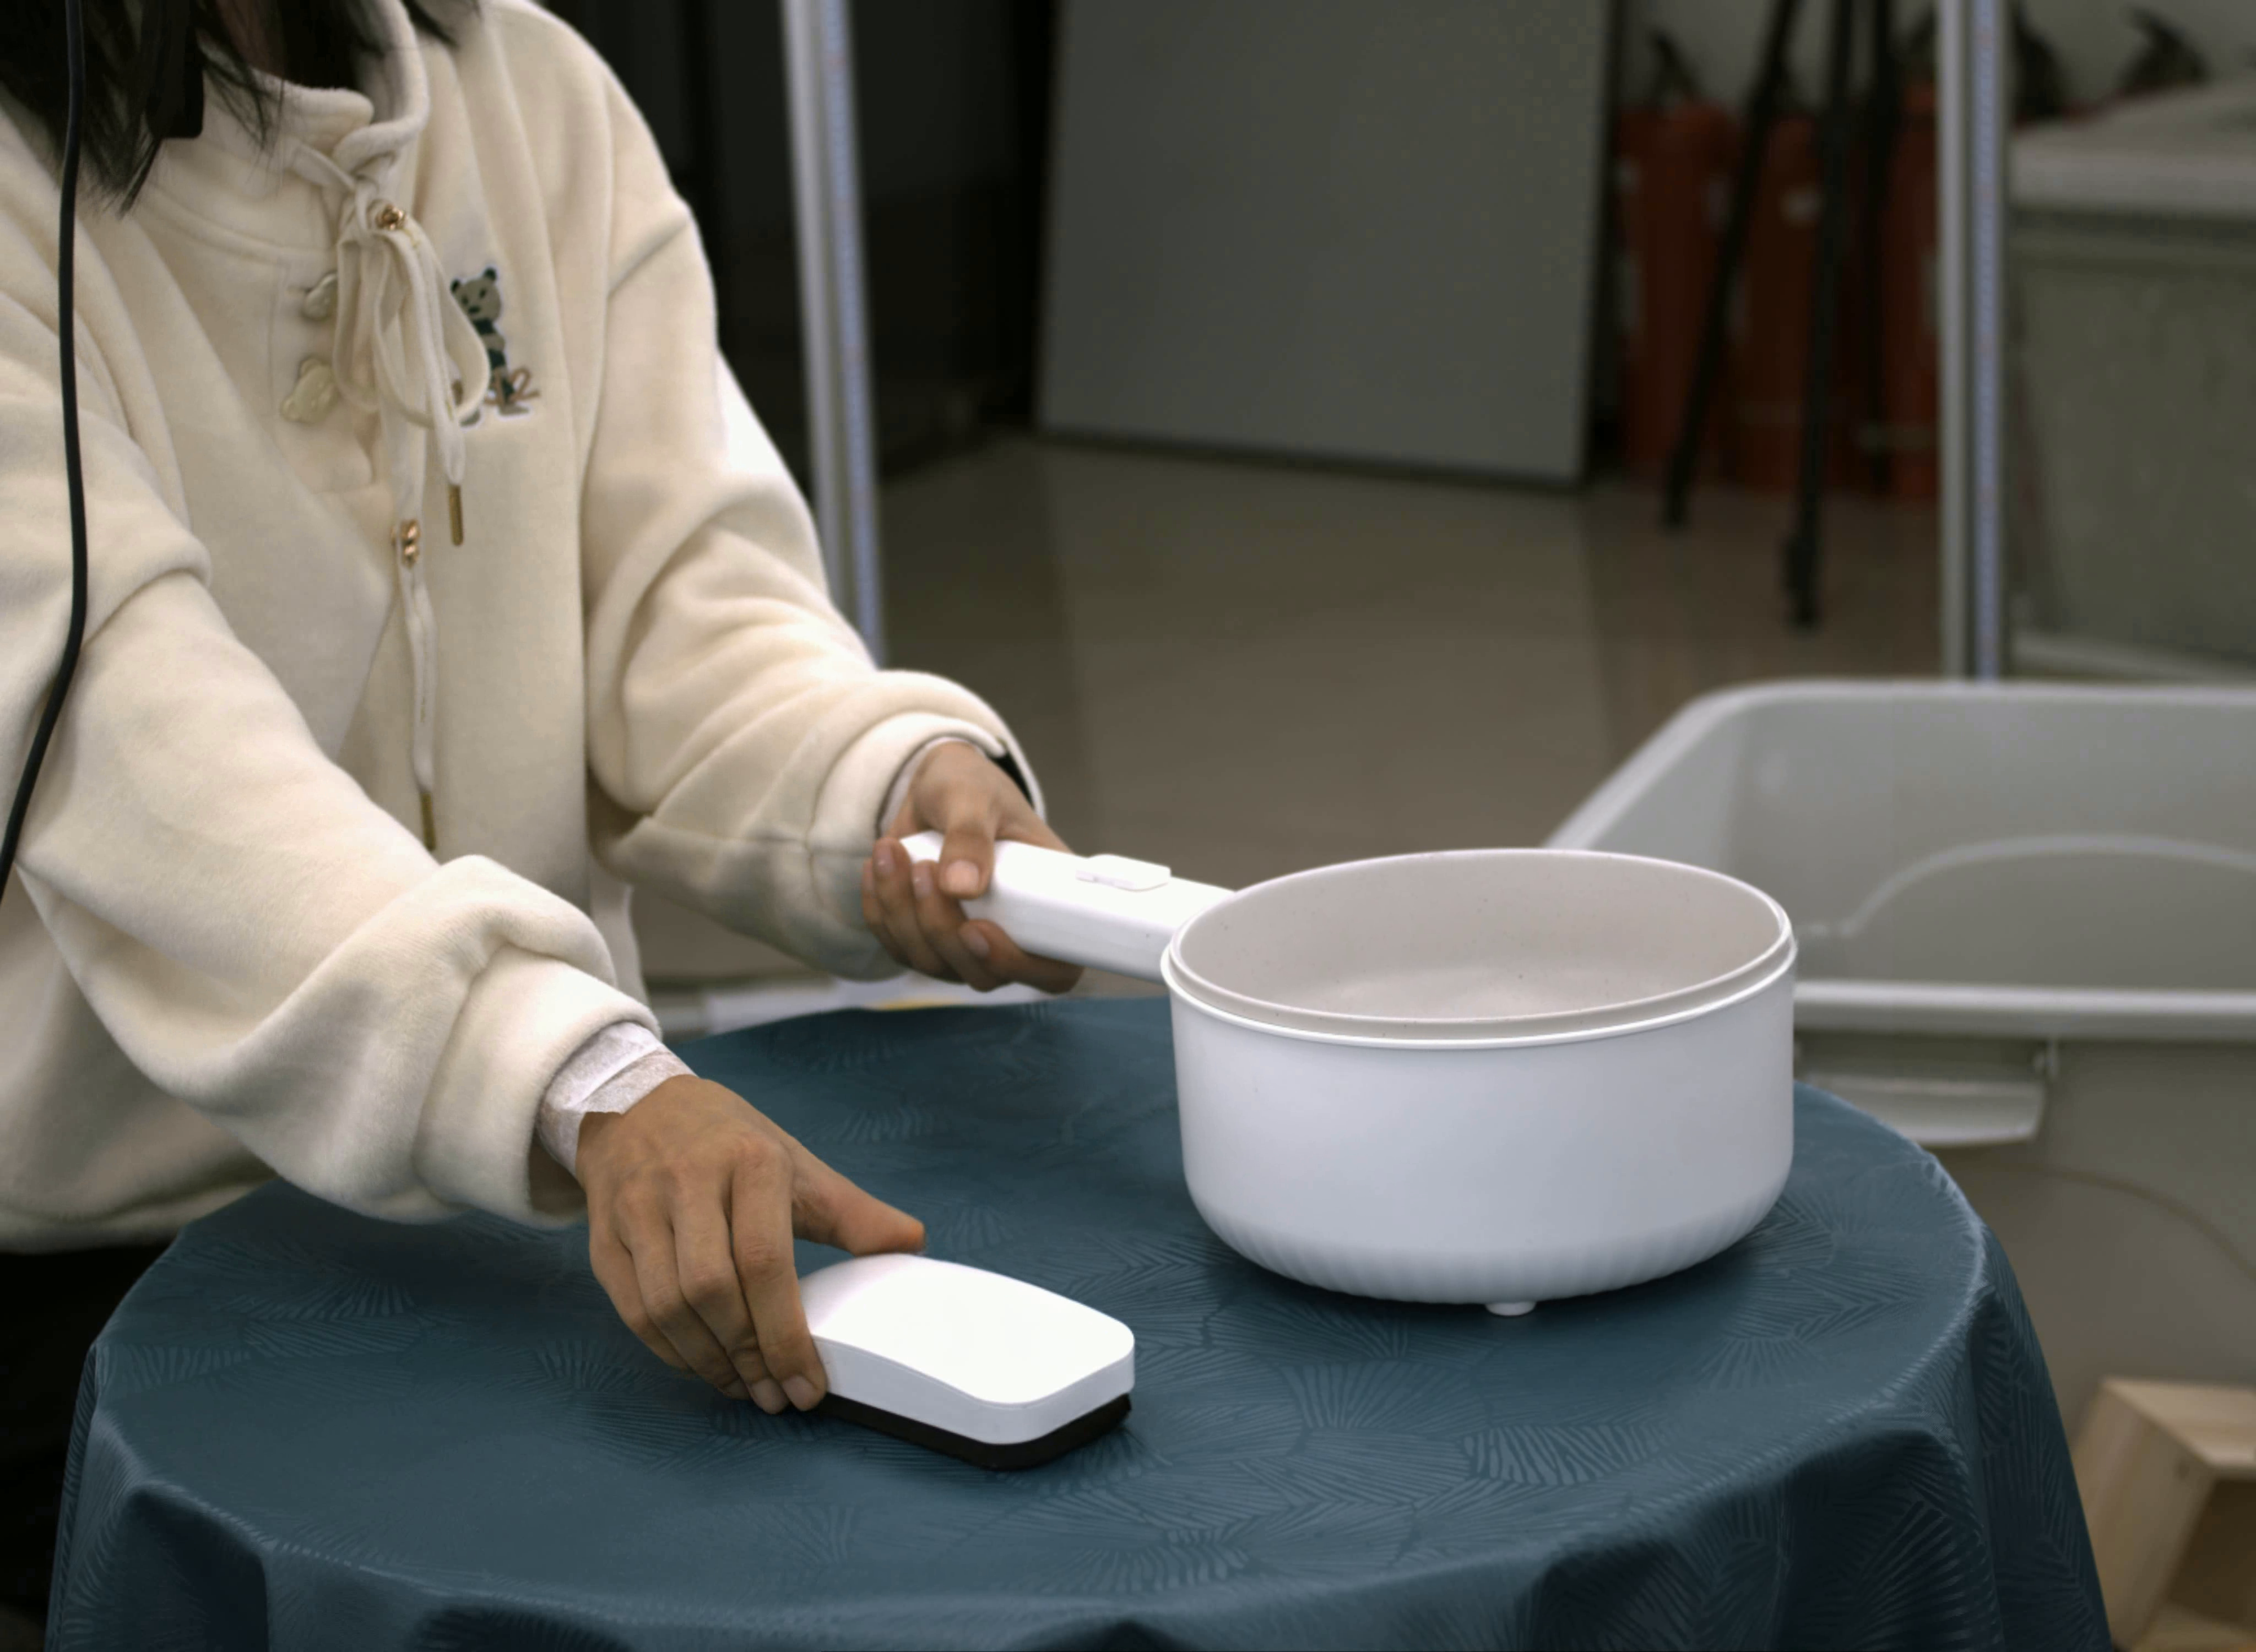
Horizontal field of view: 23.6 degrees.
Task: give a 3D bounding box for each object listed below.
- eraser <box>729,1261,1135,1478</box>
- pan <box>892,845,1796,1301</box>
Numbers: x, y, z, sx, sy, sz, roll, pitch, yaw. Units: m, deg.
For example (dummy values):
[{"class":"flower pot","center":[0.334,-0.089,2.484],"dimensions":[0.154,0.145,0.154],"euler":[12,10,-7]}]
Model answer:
[{"class":"eraser","center":[-0.057,0.156,1.577],"dimensions":[0.062,0.035,0.132],"euler":[-17,19,-40]},{"class":"pan","center":[0.057,0.071,1.743],"dimensions":[0.358,0.103,0.197],"euler":[7,16,45]}]
